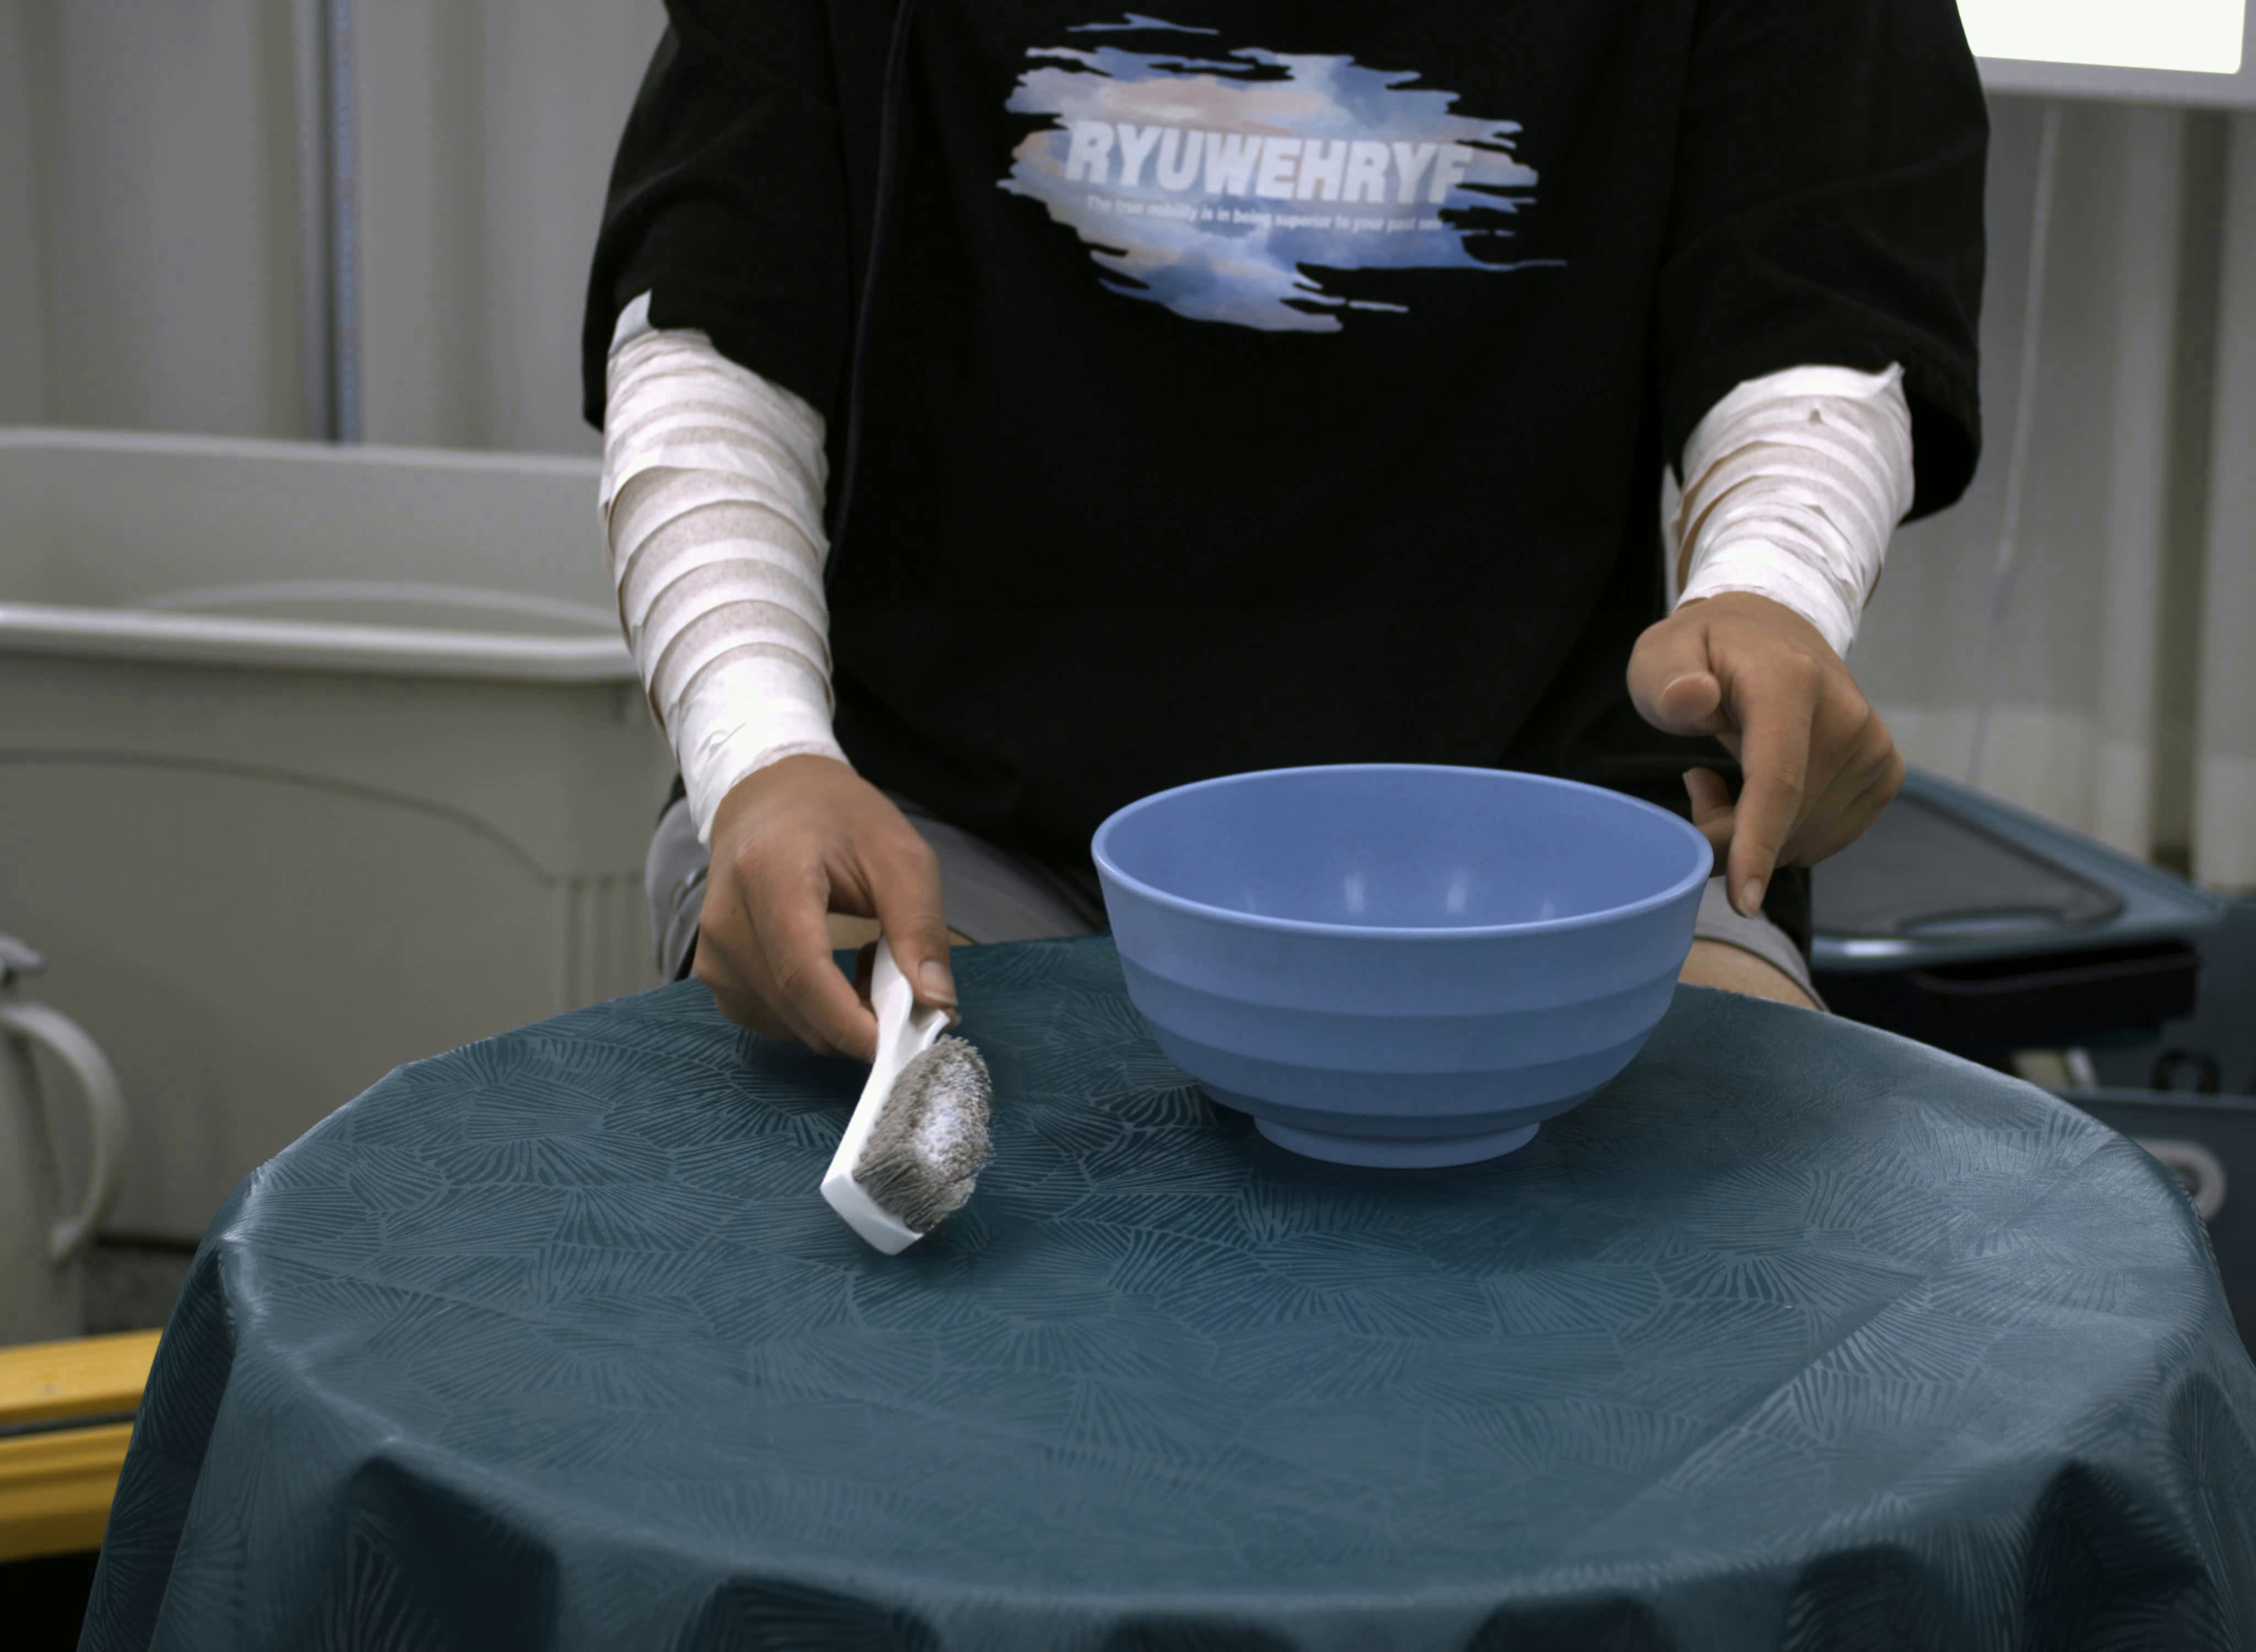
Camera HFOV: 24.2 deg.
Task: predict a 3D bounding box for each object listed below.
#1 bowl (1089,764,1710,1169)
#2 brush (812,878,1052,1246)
[{"bbox_3d":[0.086,0.050,1.675,0.196,0.096,0.195,0,16,1],"label":"bowl"},{"bbox_3d":[-0.047,0.058,1.648,0.034,0.050,0.243,37,26,-5],"label":"brush"}]
